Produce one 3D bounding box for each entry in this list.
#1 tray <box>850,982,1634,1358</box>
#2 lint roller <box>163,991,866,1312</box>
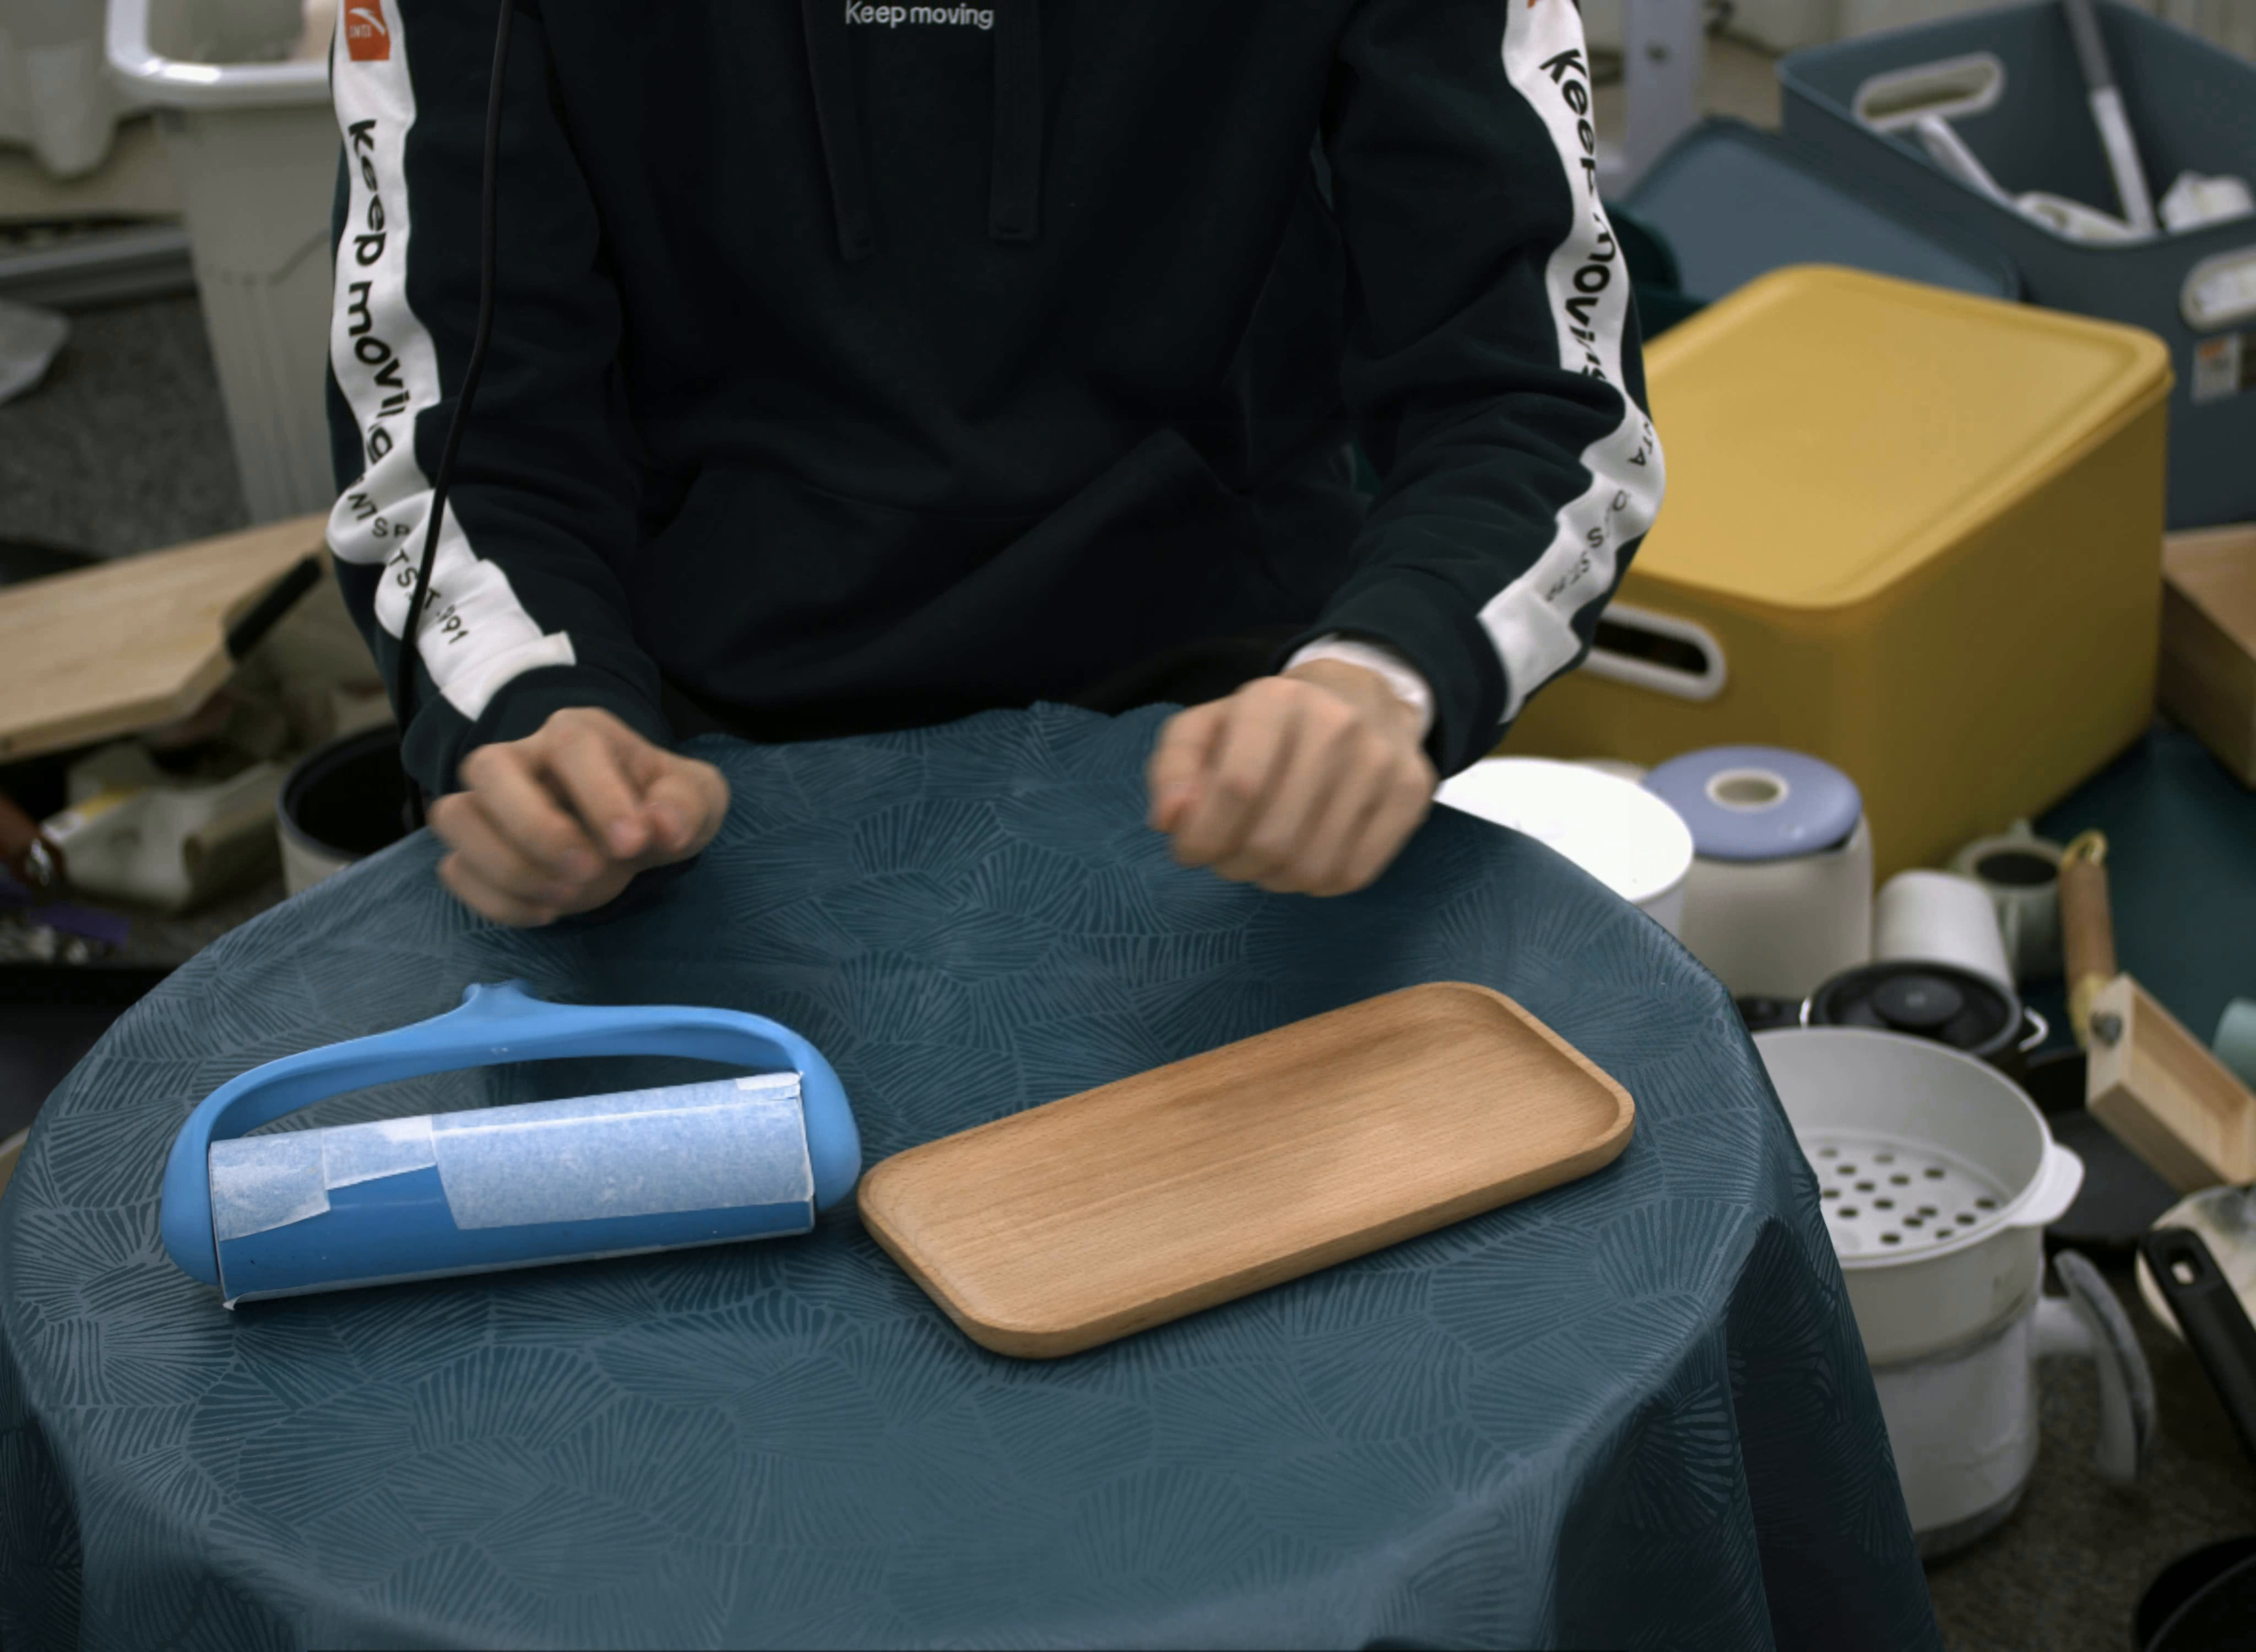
[{"bbox_3d":[0.038,0.112,1.856,0.252,0.022,0.131,-17,28,-24],"label":"tray"},{"bbox_3d":[-0.210,0.091,1.879,0.228,0.067,0.182,-9,29,-8],"label":"lint roller"}]
